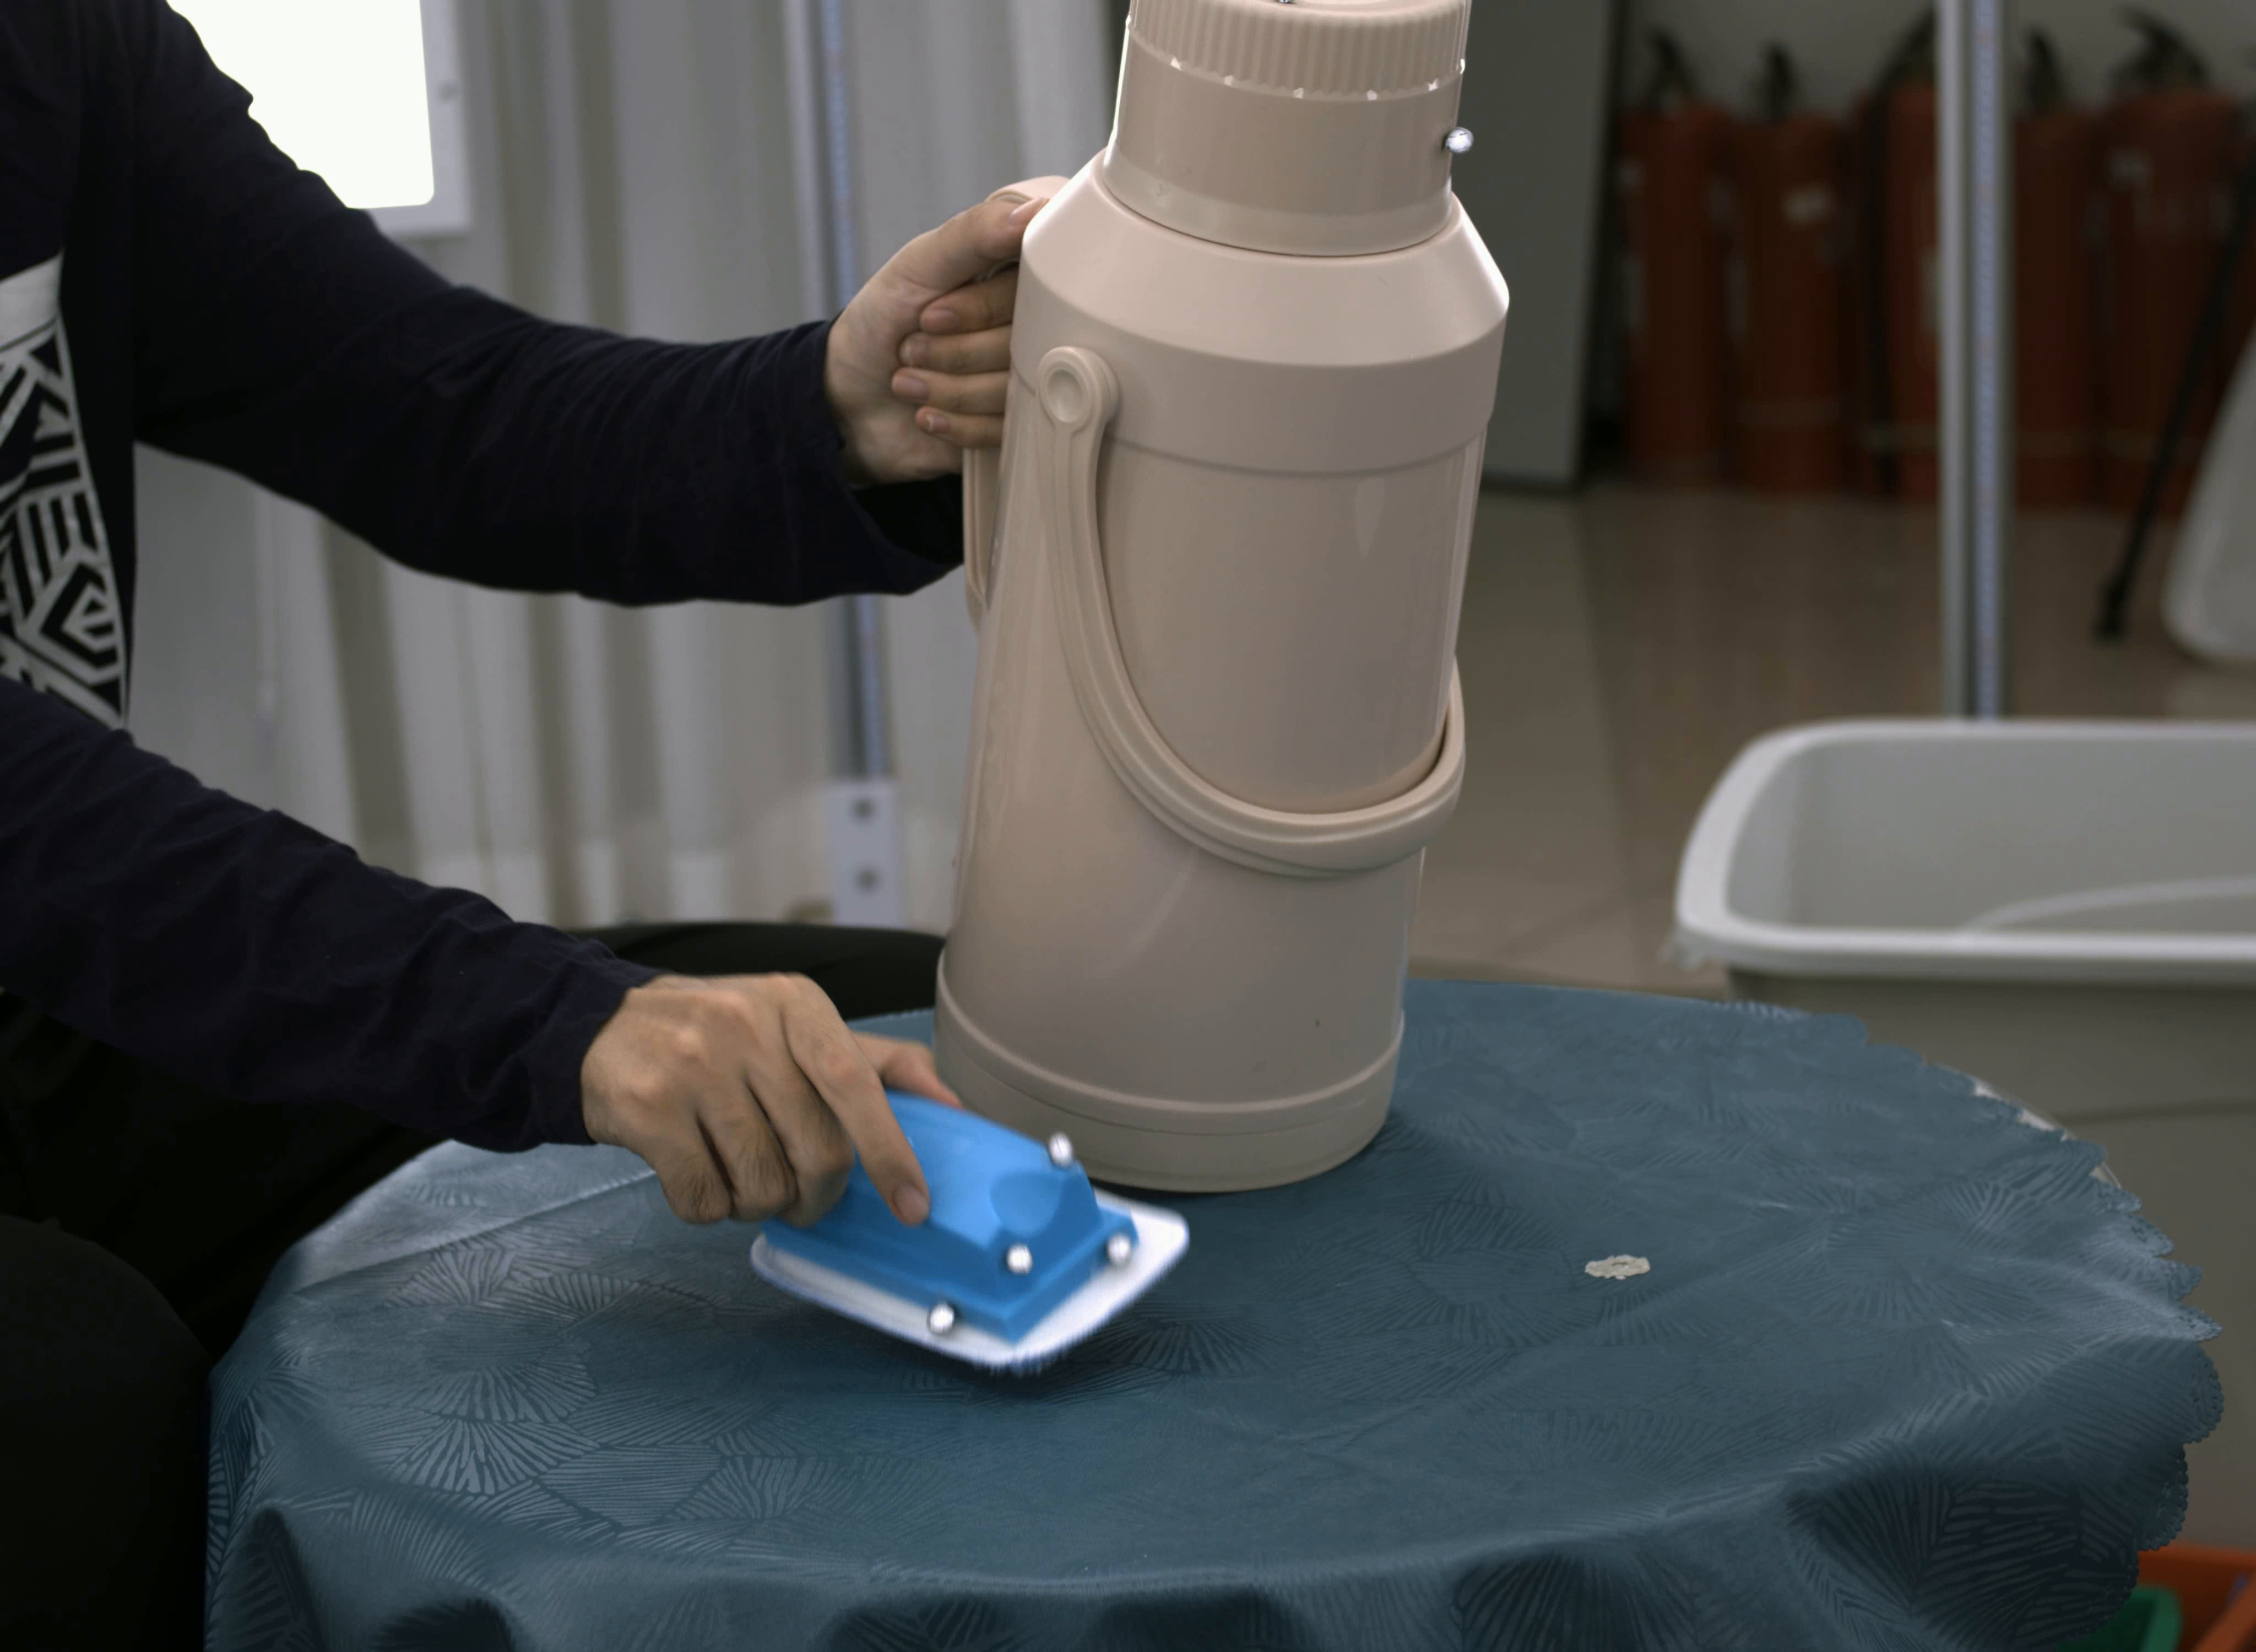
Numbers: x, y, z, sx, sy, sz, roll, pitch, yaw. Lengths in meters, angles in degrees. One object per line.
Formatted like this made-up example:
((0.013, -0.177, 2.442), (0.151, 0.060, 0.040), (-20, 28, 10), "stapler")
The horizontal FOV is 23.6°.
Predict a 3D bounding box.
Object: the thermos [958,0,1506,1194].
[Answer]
((0.026, -0.099, 1.752), (0.209, 0.410, 0.172), (26, 34, 37), "thermos")

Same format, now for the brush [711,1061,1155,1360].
((-0.062, 0.113, 1.638), (0.082, 0.056, 0.145), (-31, 33, -31), "brush")
